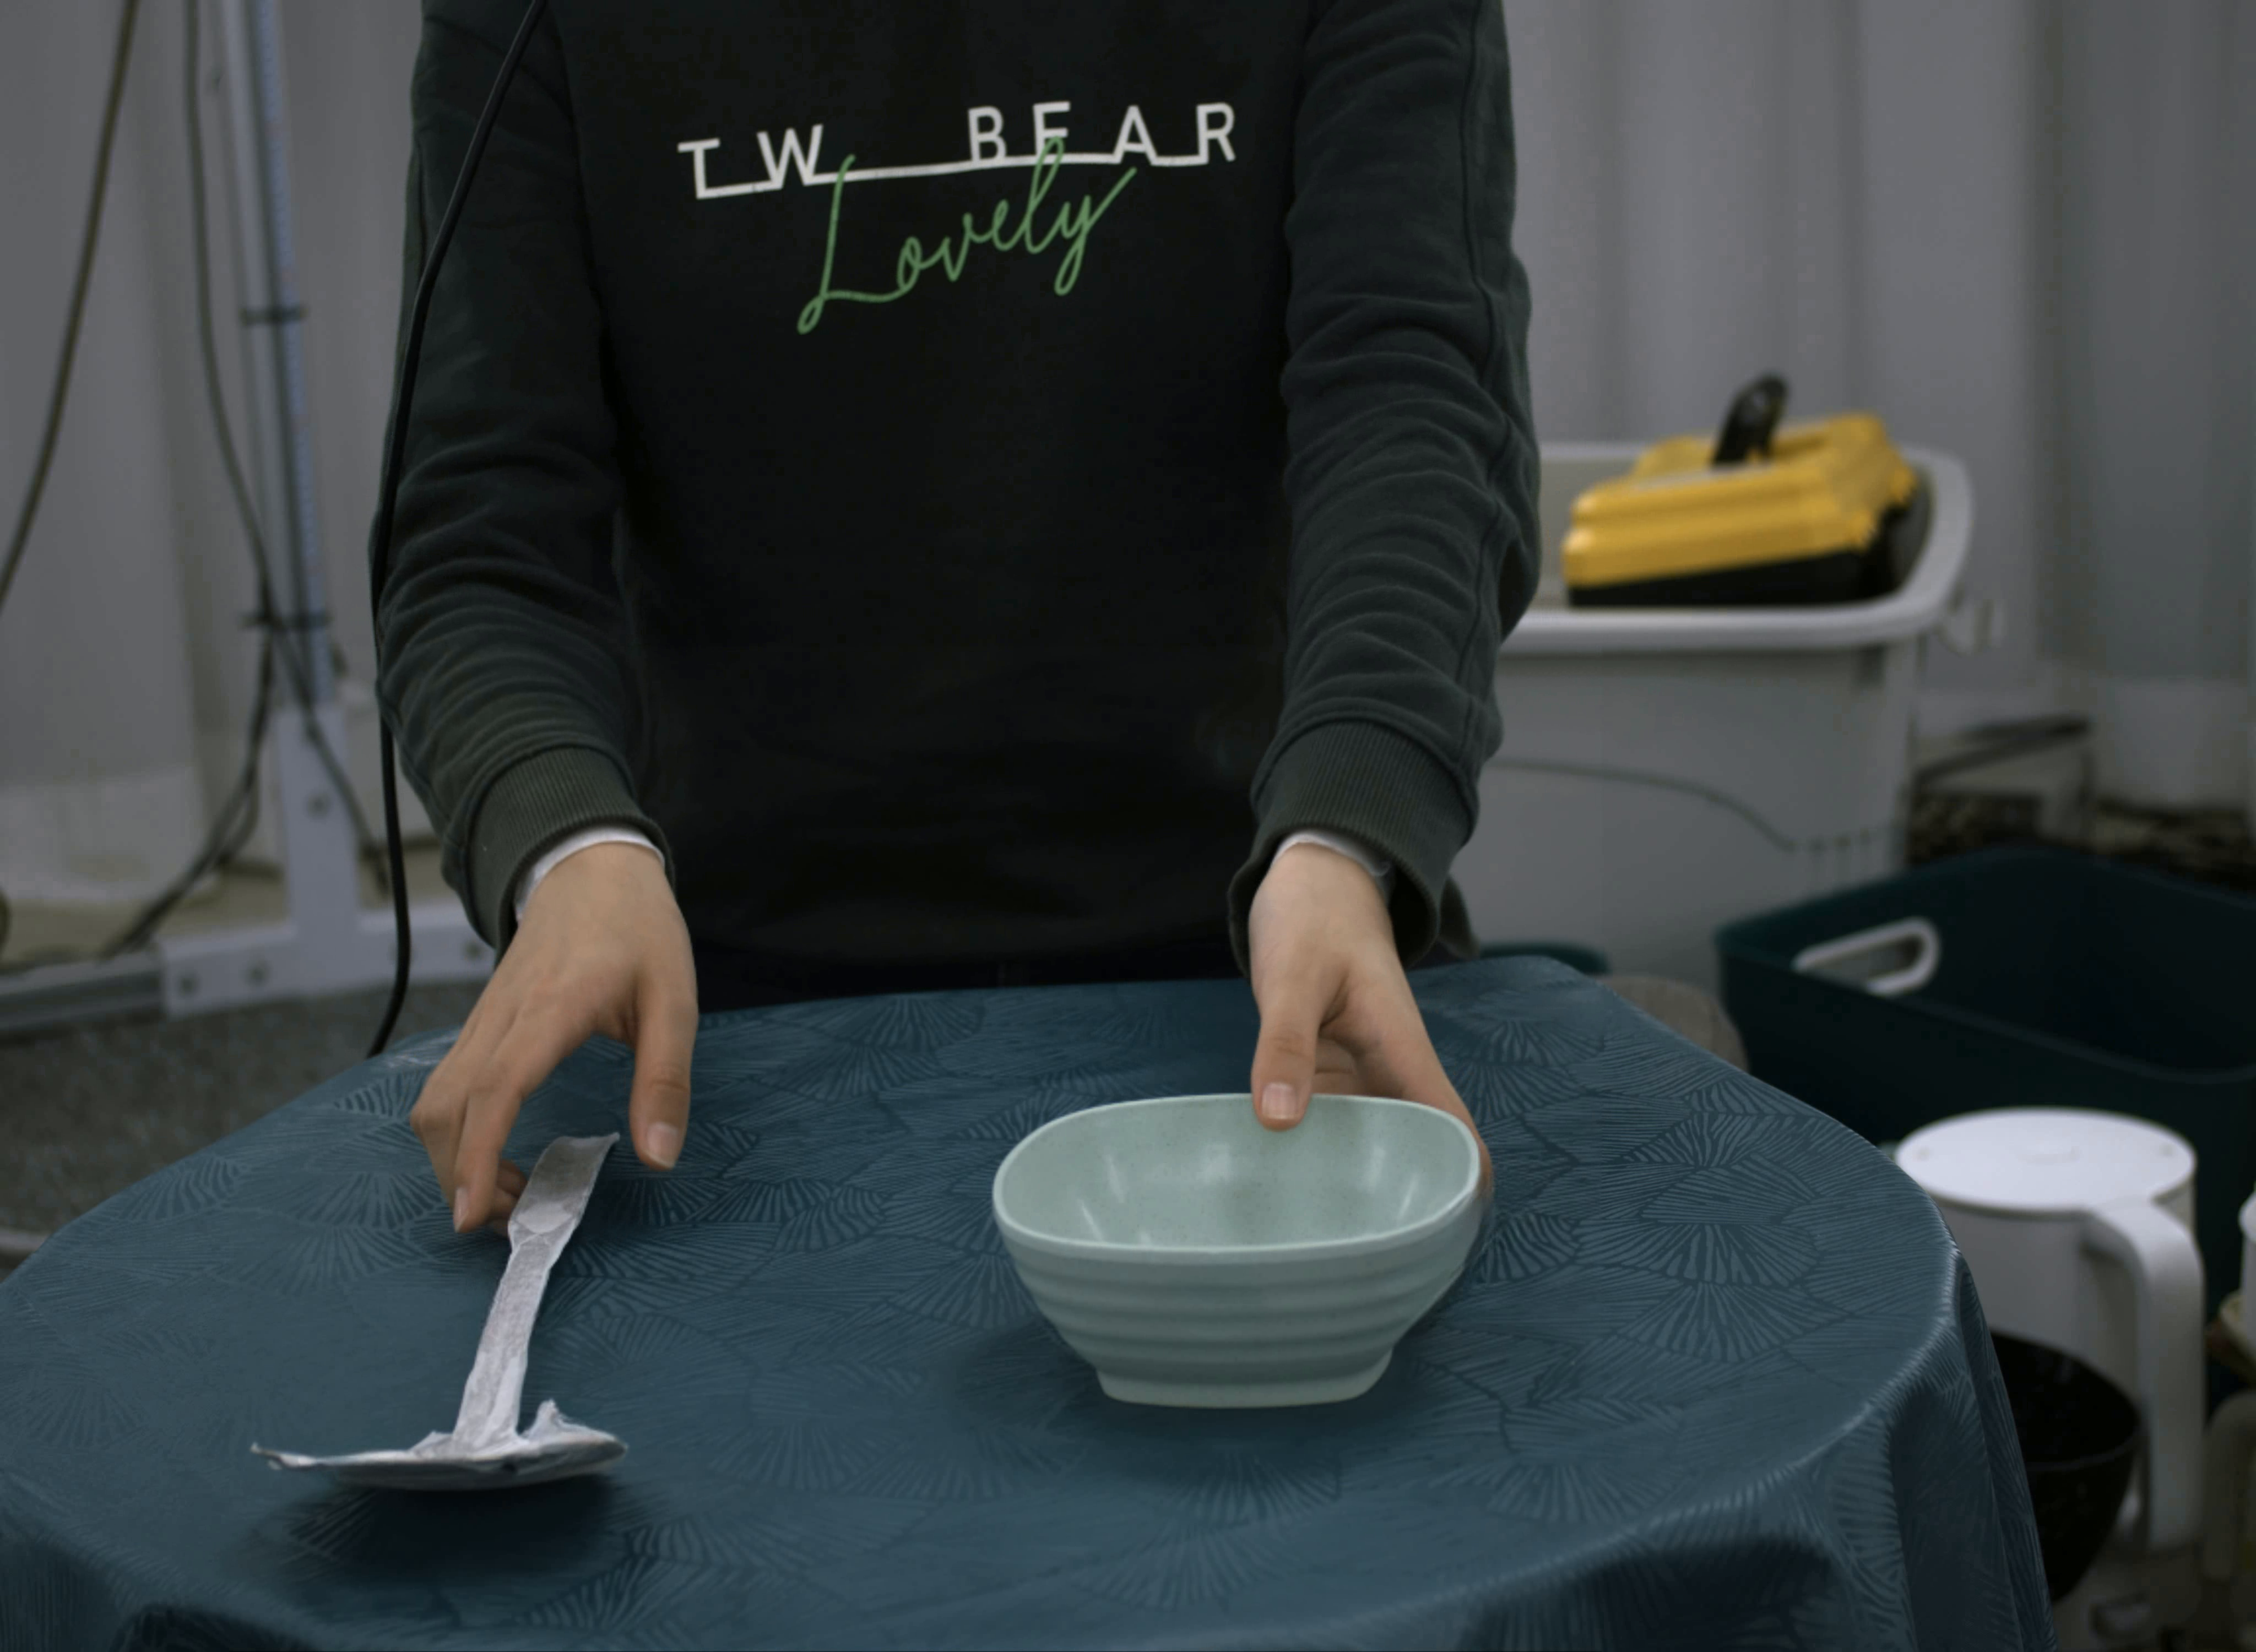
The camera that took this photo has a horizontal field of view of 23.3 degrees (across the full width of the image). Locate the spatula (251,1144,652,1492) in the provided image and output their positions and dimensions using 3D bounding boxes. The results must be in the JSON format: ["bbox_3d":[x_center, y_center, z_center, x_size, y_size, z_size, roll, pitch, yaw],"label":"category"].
[{"bbox_3d":[-0.175,0.135,1.597,0.098,0.044,0.367,-4,15,3],"label":"spatula"}]

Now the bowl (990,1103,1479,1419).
[{"bbox_3d":[0.031,0.127,1.561,0.151,0.058,0.152,-1,14,0],"label":"bowl"}]
